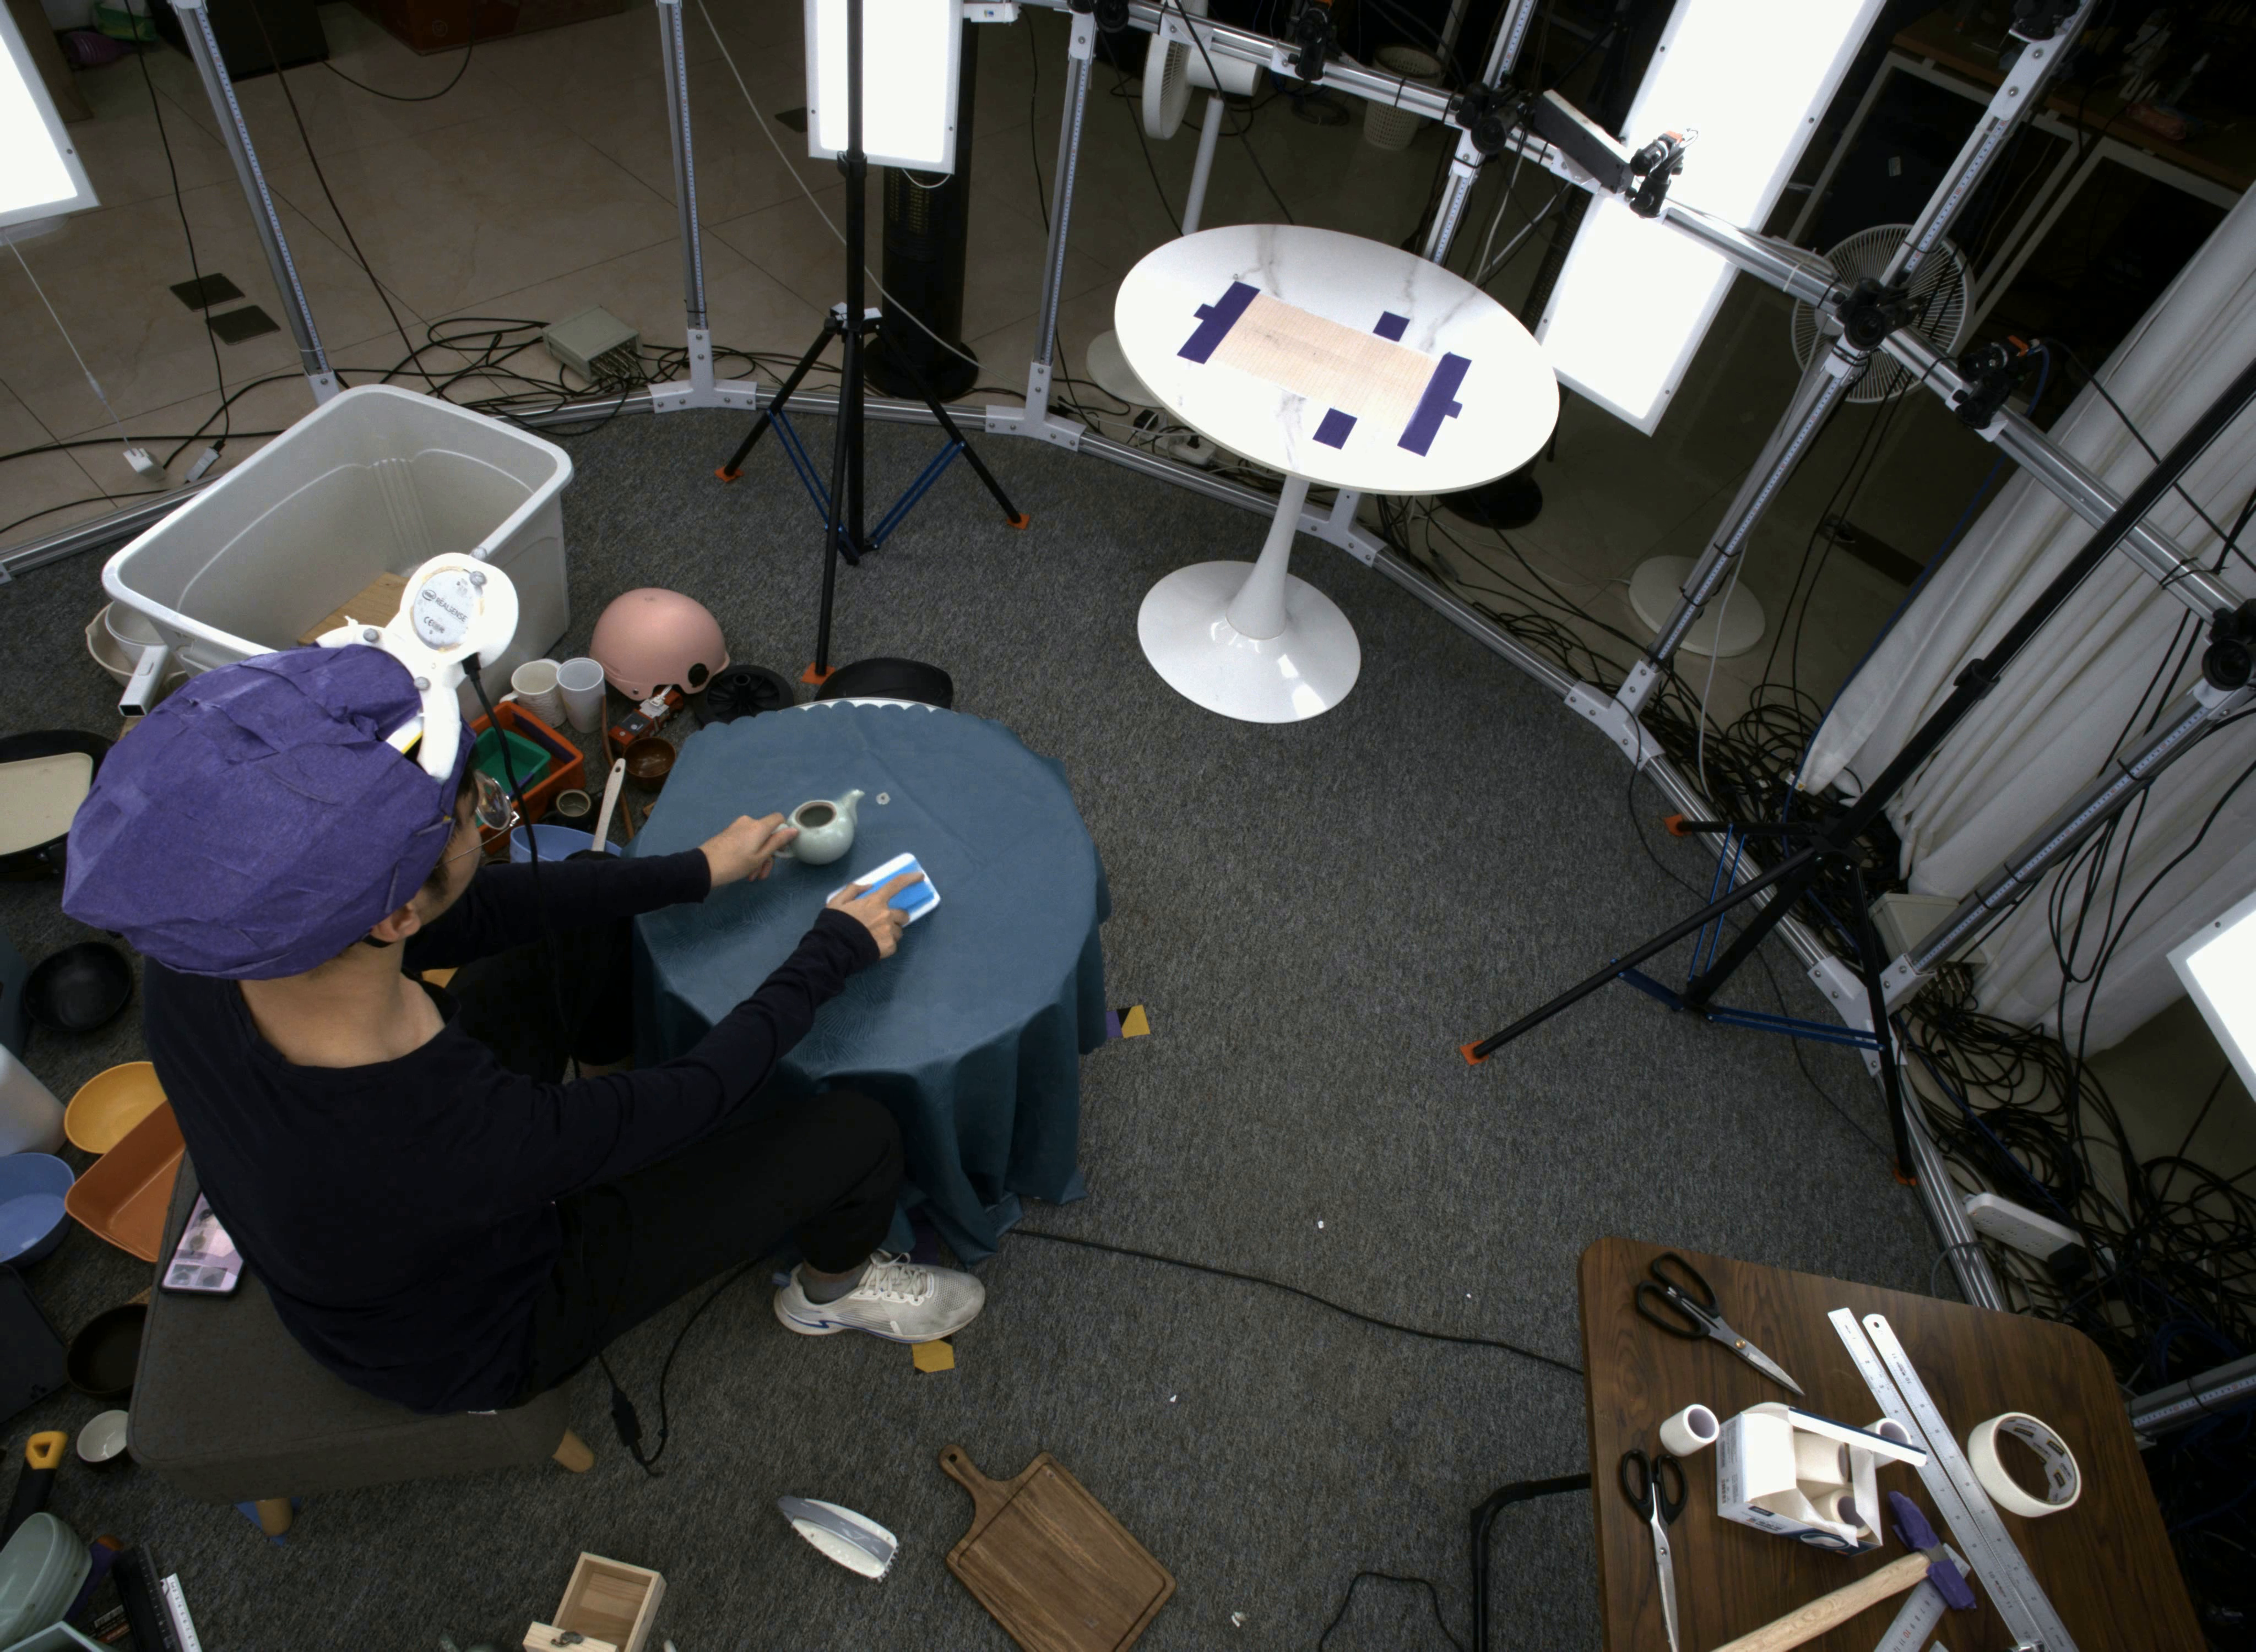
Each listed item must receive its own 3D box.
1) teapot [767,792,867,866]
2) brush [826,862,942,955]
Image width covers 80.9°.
[{"bbox_3d":[-0.399,0.007,1.675,0.144,0.077,0.085,-24,51,-31],"label":"teapot"},{"bbox_3d":[-0.302,0.094,1.628,0.145,0.055,0.084,-30,84,-37],"label":"brush"}]
